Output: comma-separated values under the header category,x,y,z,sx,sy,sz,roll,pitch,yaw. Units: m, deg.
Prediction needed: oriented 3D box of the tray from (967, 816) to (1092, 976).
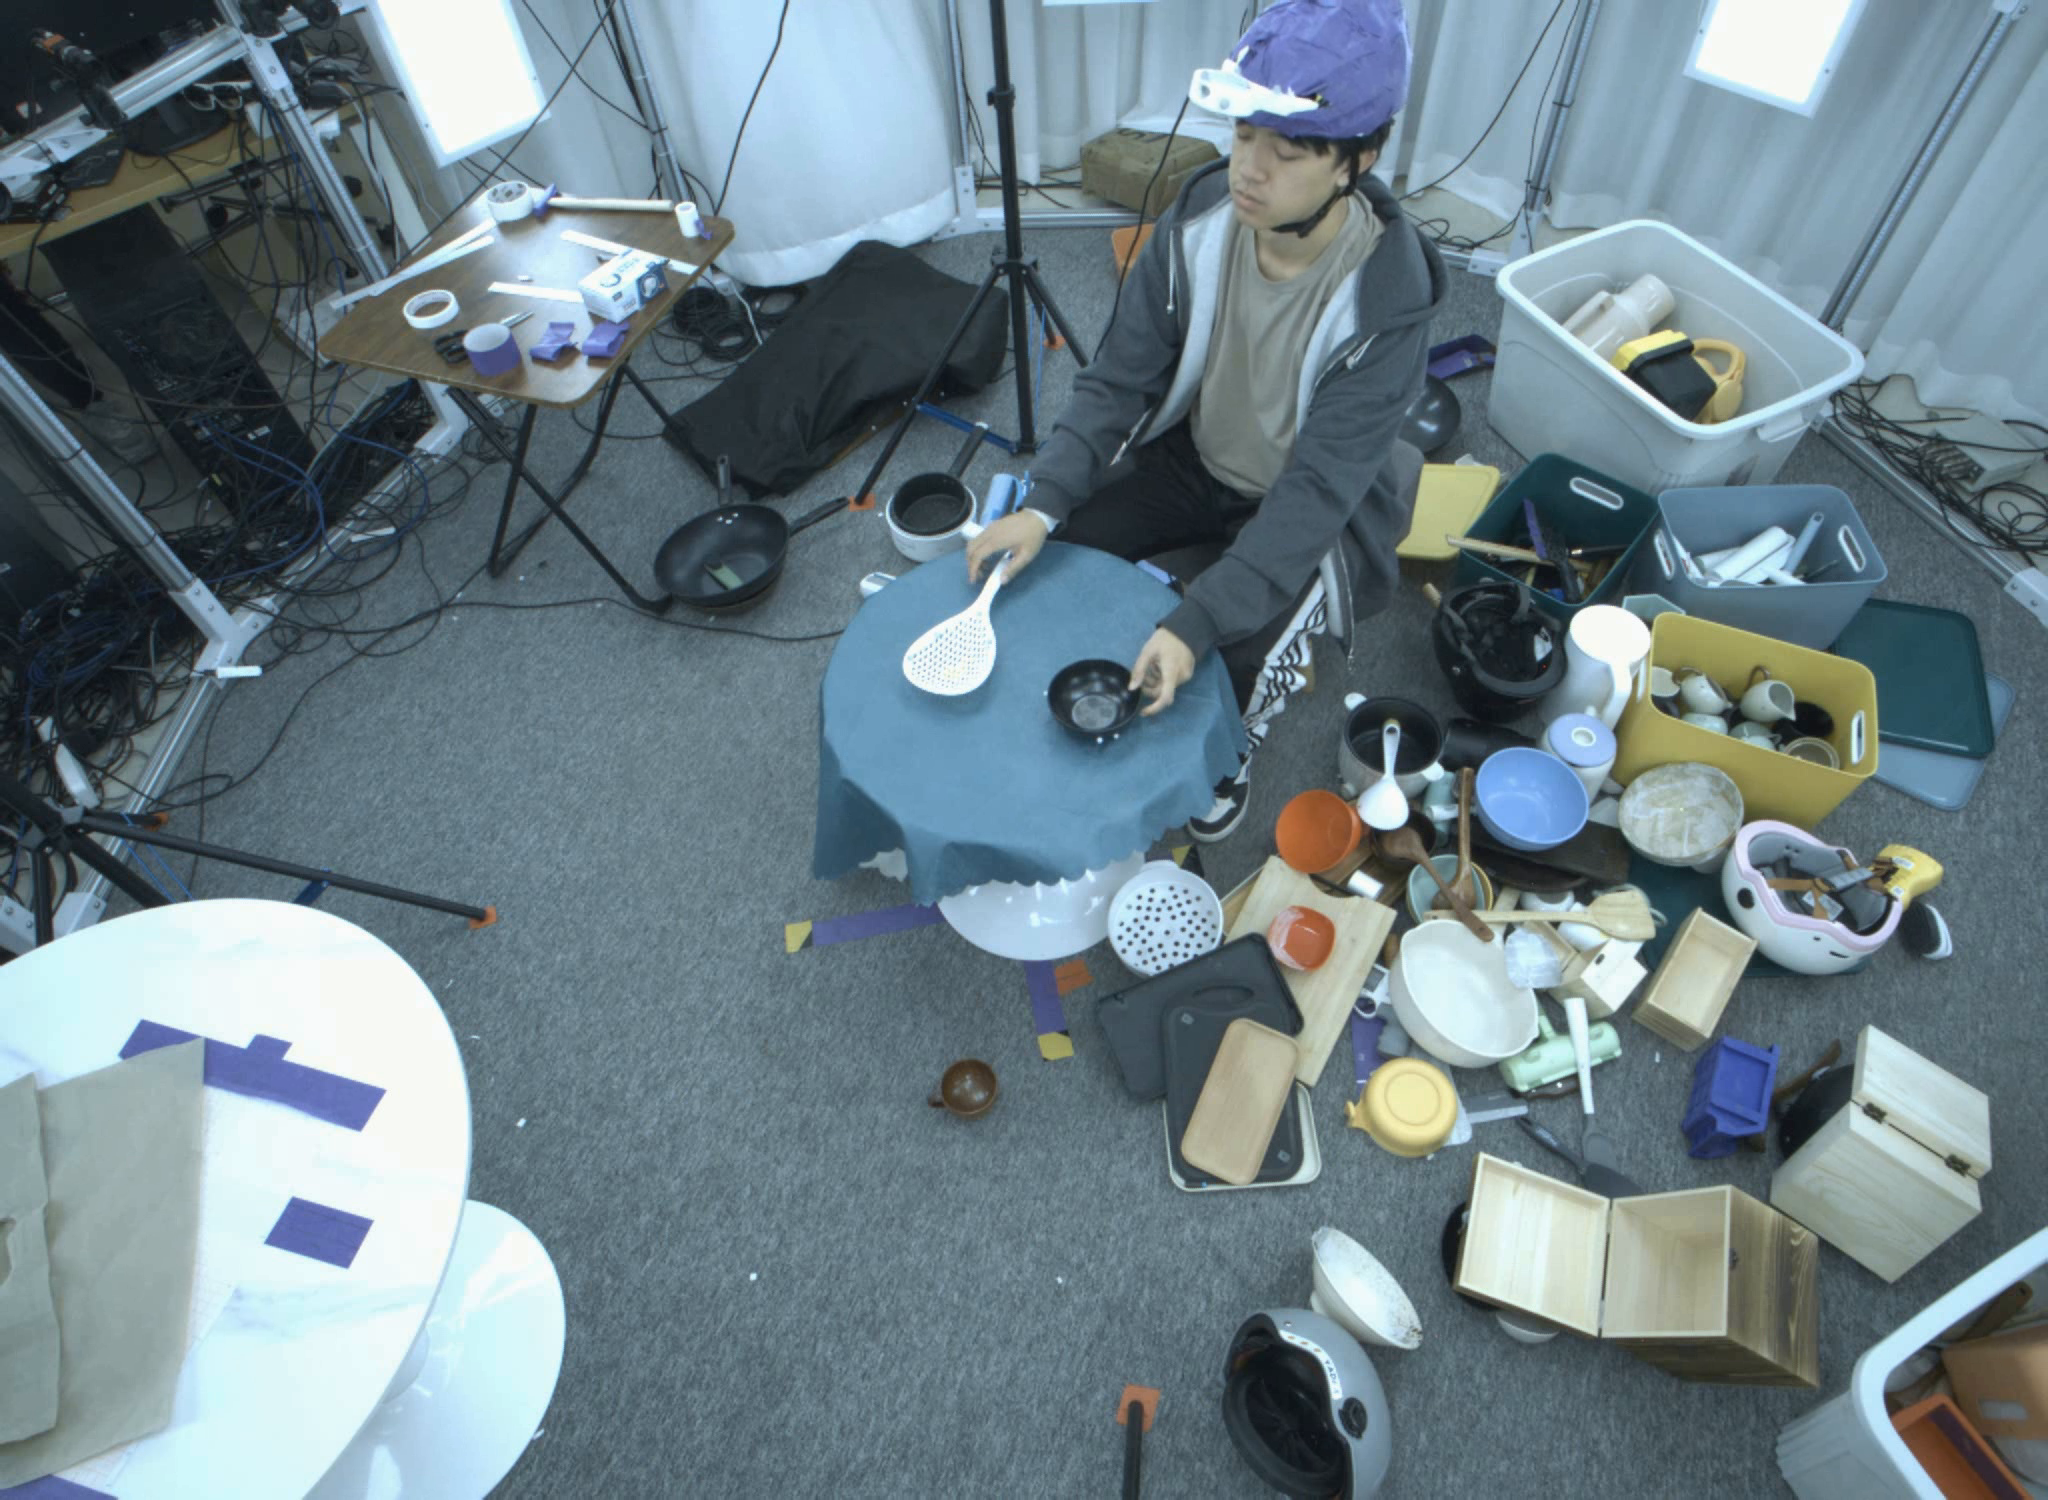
category,x,y,z,sx,sy,sz,roll,pitch,yaw
tray,0.007,0.266,2.278,0.192,0.028,0.296,-9,56,-4

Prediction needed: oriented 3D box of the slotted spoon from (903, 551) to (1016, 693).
category,x,y,z,sx,sy,sz,roll,pitch,yaw
slotted spoon,-0.073,-0.208,1.916,0.135,0.051,0.347,13,56,15
